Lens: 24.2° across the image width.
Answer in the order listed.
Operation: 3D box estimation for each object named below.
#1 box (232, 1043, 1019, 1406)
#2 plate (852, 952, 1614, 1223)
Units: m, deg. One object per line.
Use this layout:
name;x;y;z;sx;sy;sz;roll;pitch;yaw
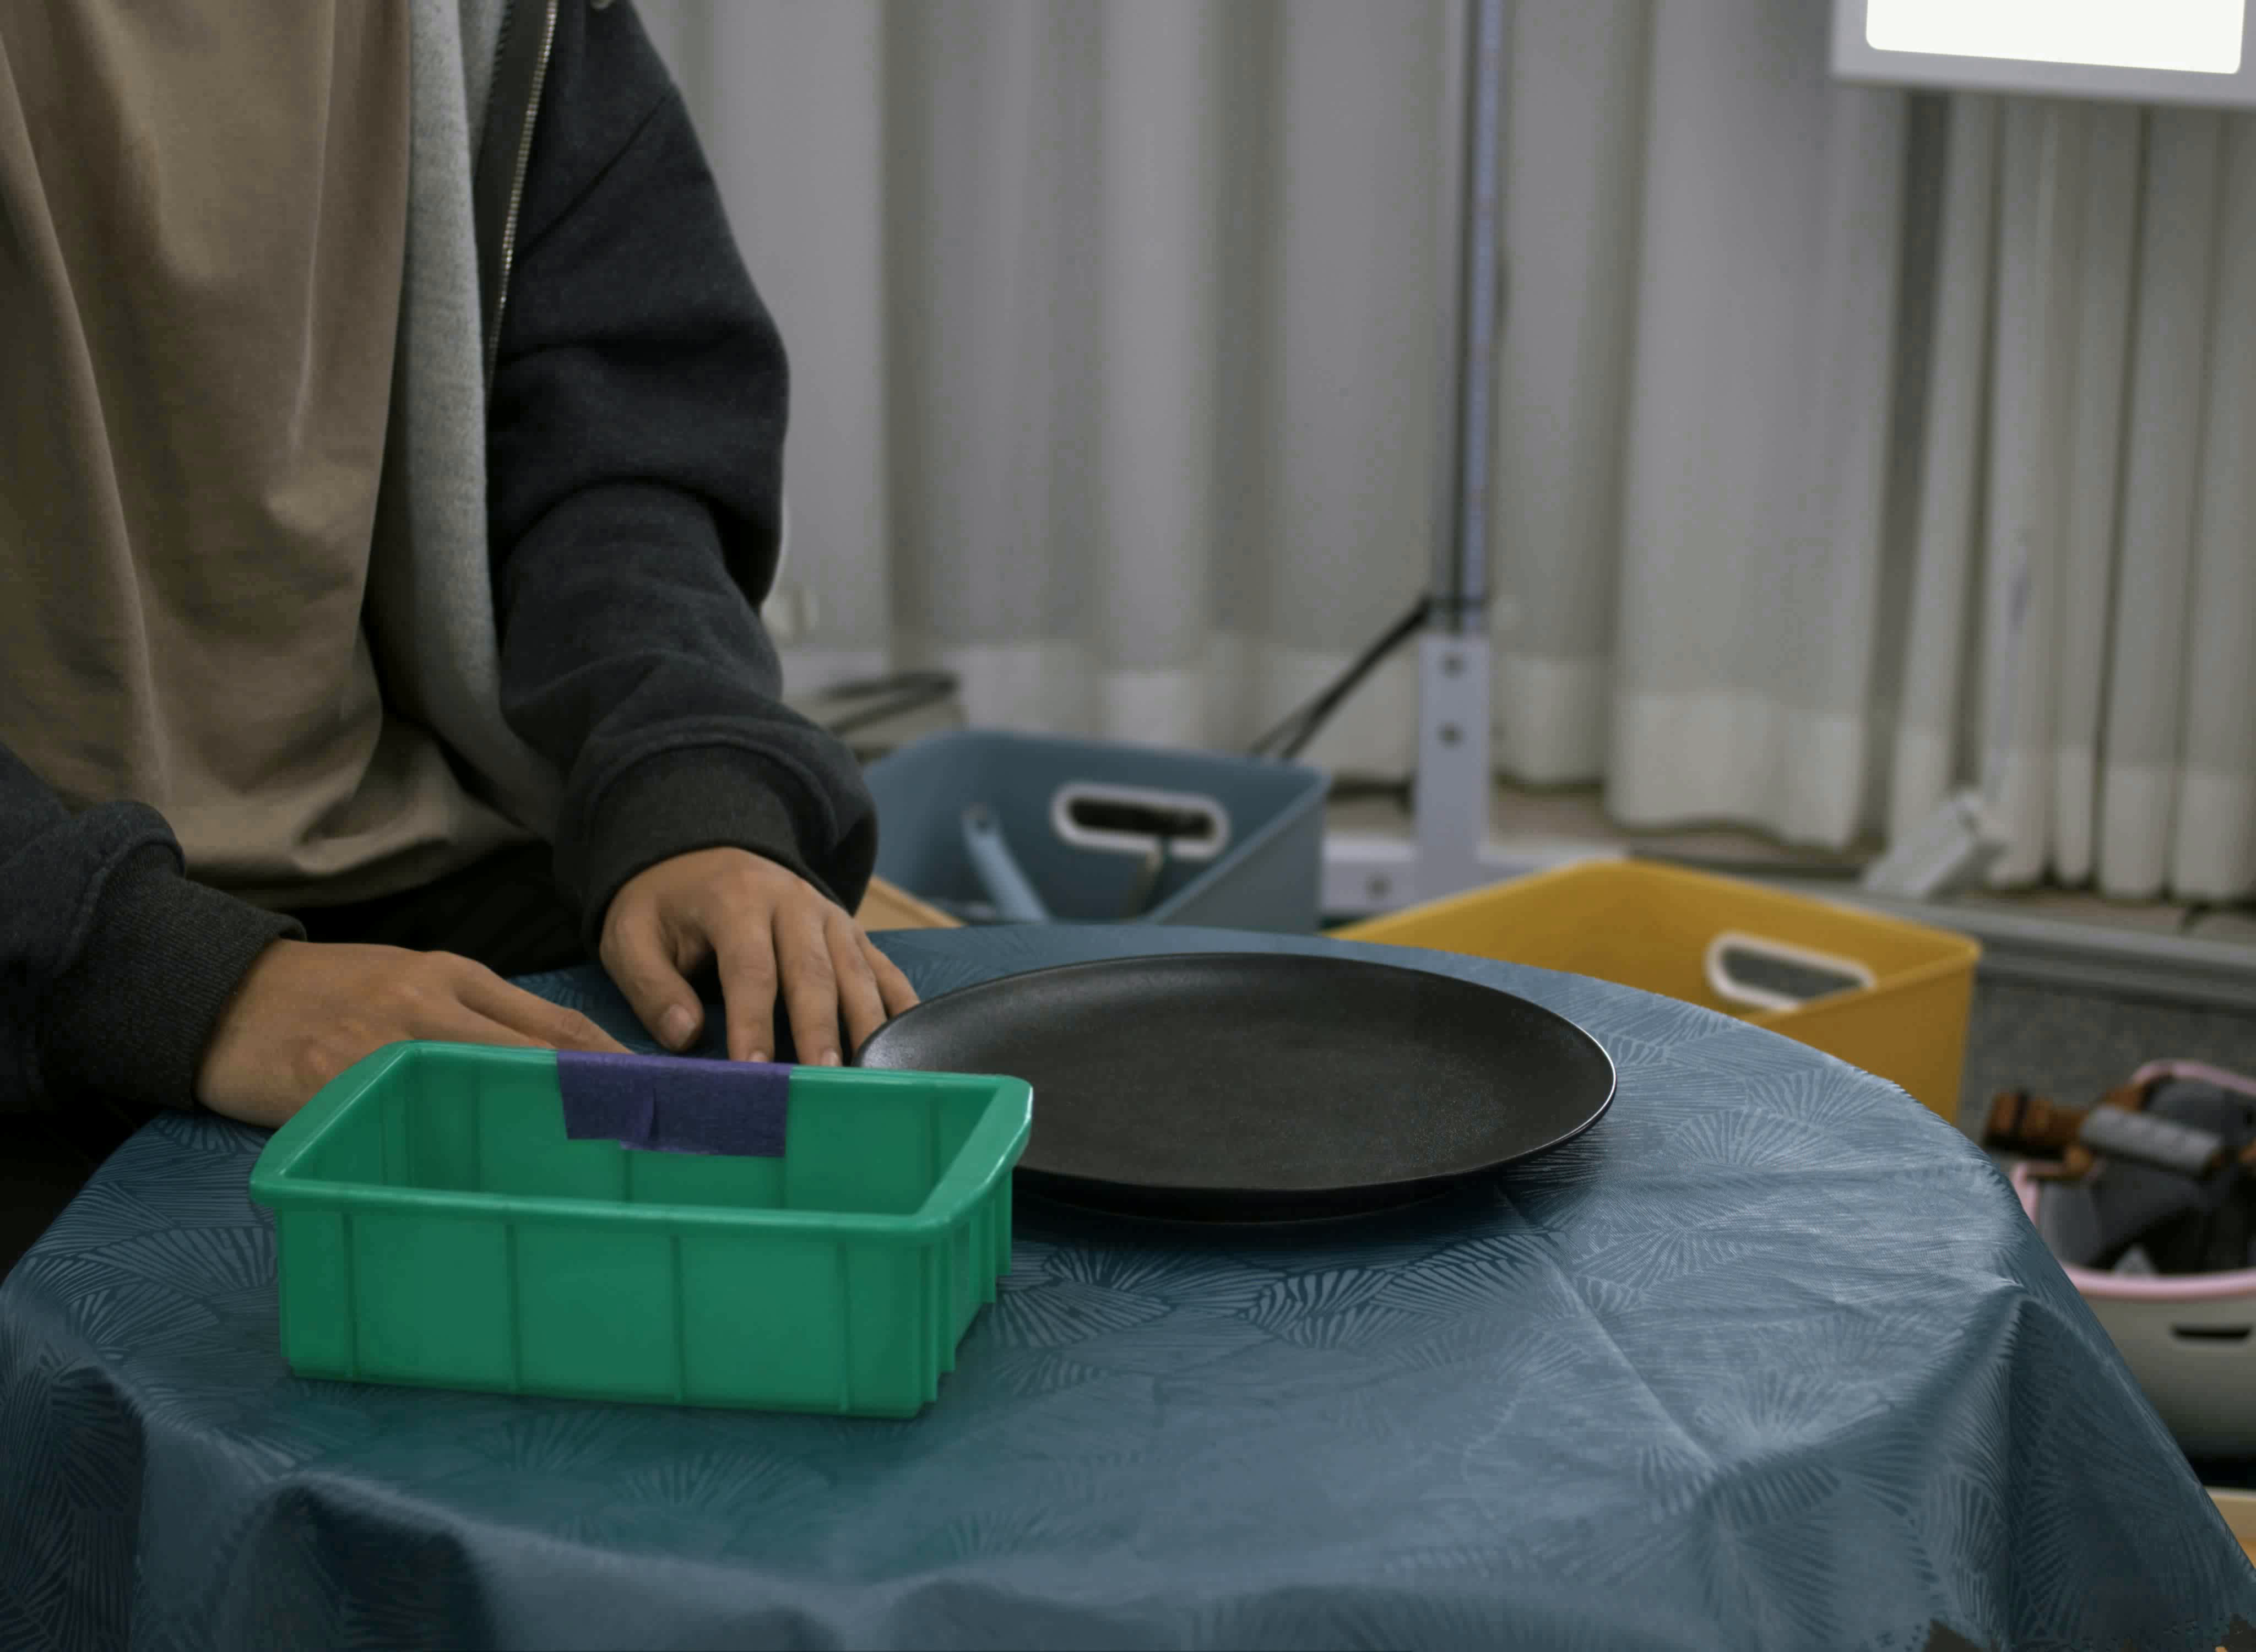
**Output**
box;-0.139;0.113;1.497;0.209;0.066;0.138;1;14;9
plate;0.033;0.085;1.678;0.243;0.023;0.243;1;16;0
